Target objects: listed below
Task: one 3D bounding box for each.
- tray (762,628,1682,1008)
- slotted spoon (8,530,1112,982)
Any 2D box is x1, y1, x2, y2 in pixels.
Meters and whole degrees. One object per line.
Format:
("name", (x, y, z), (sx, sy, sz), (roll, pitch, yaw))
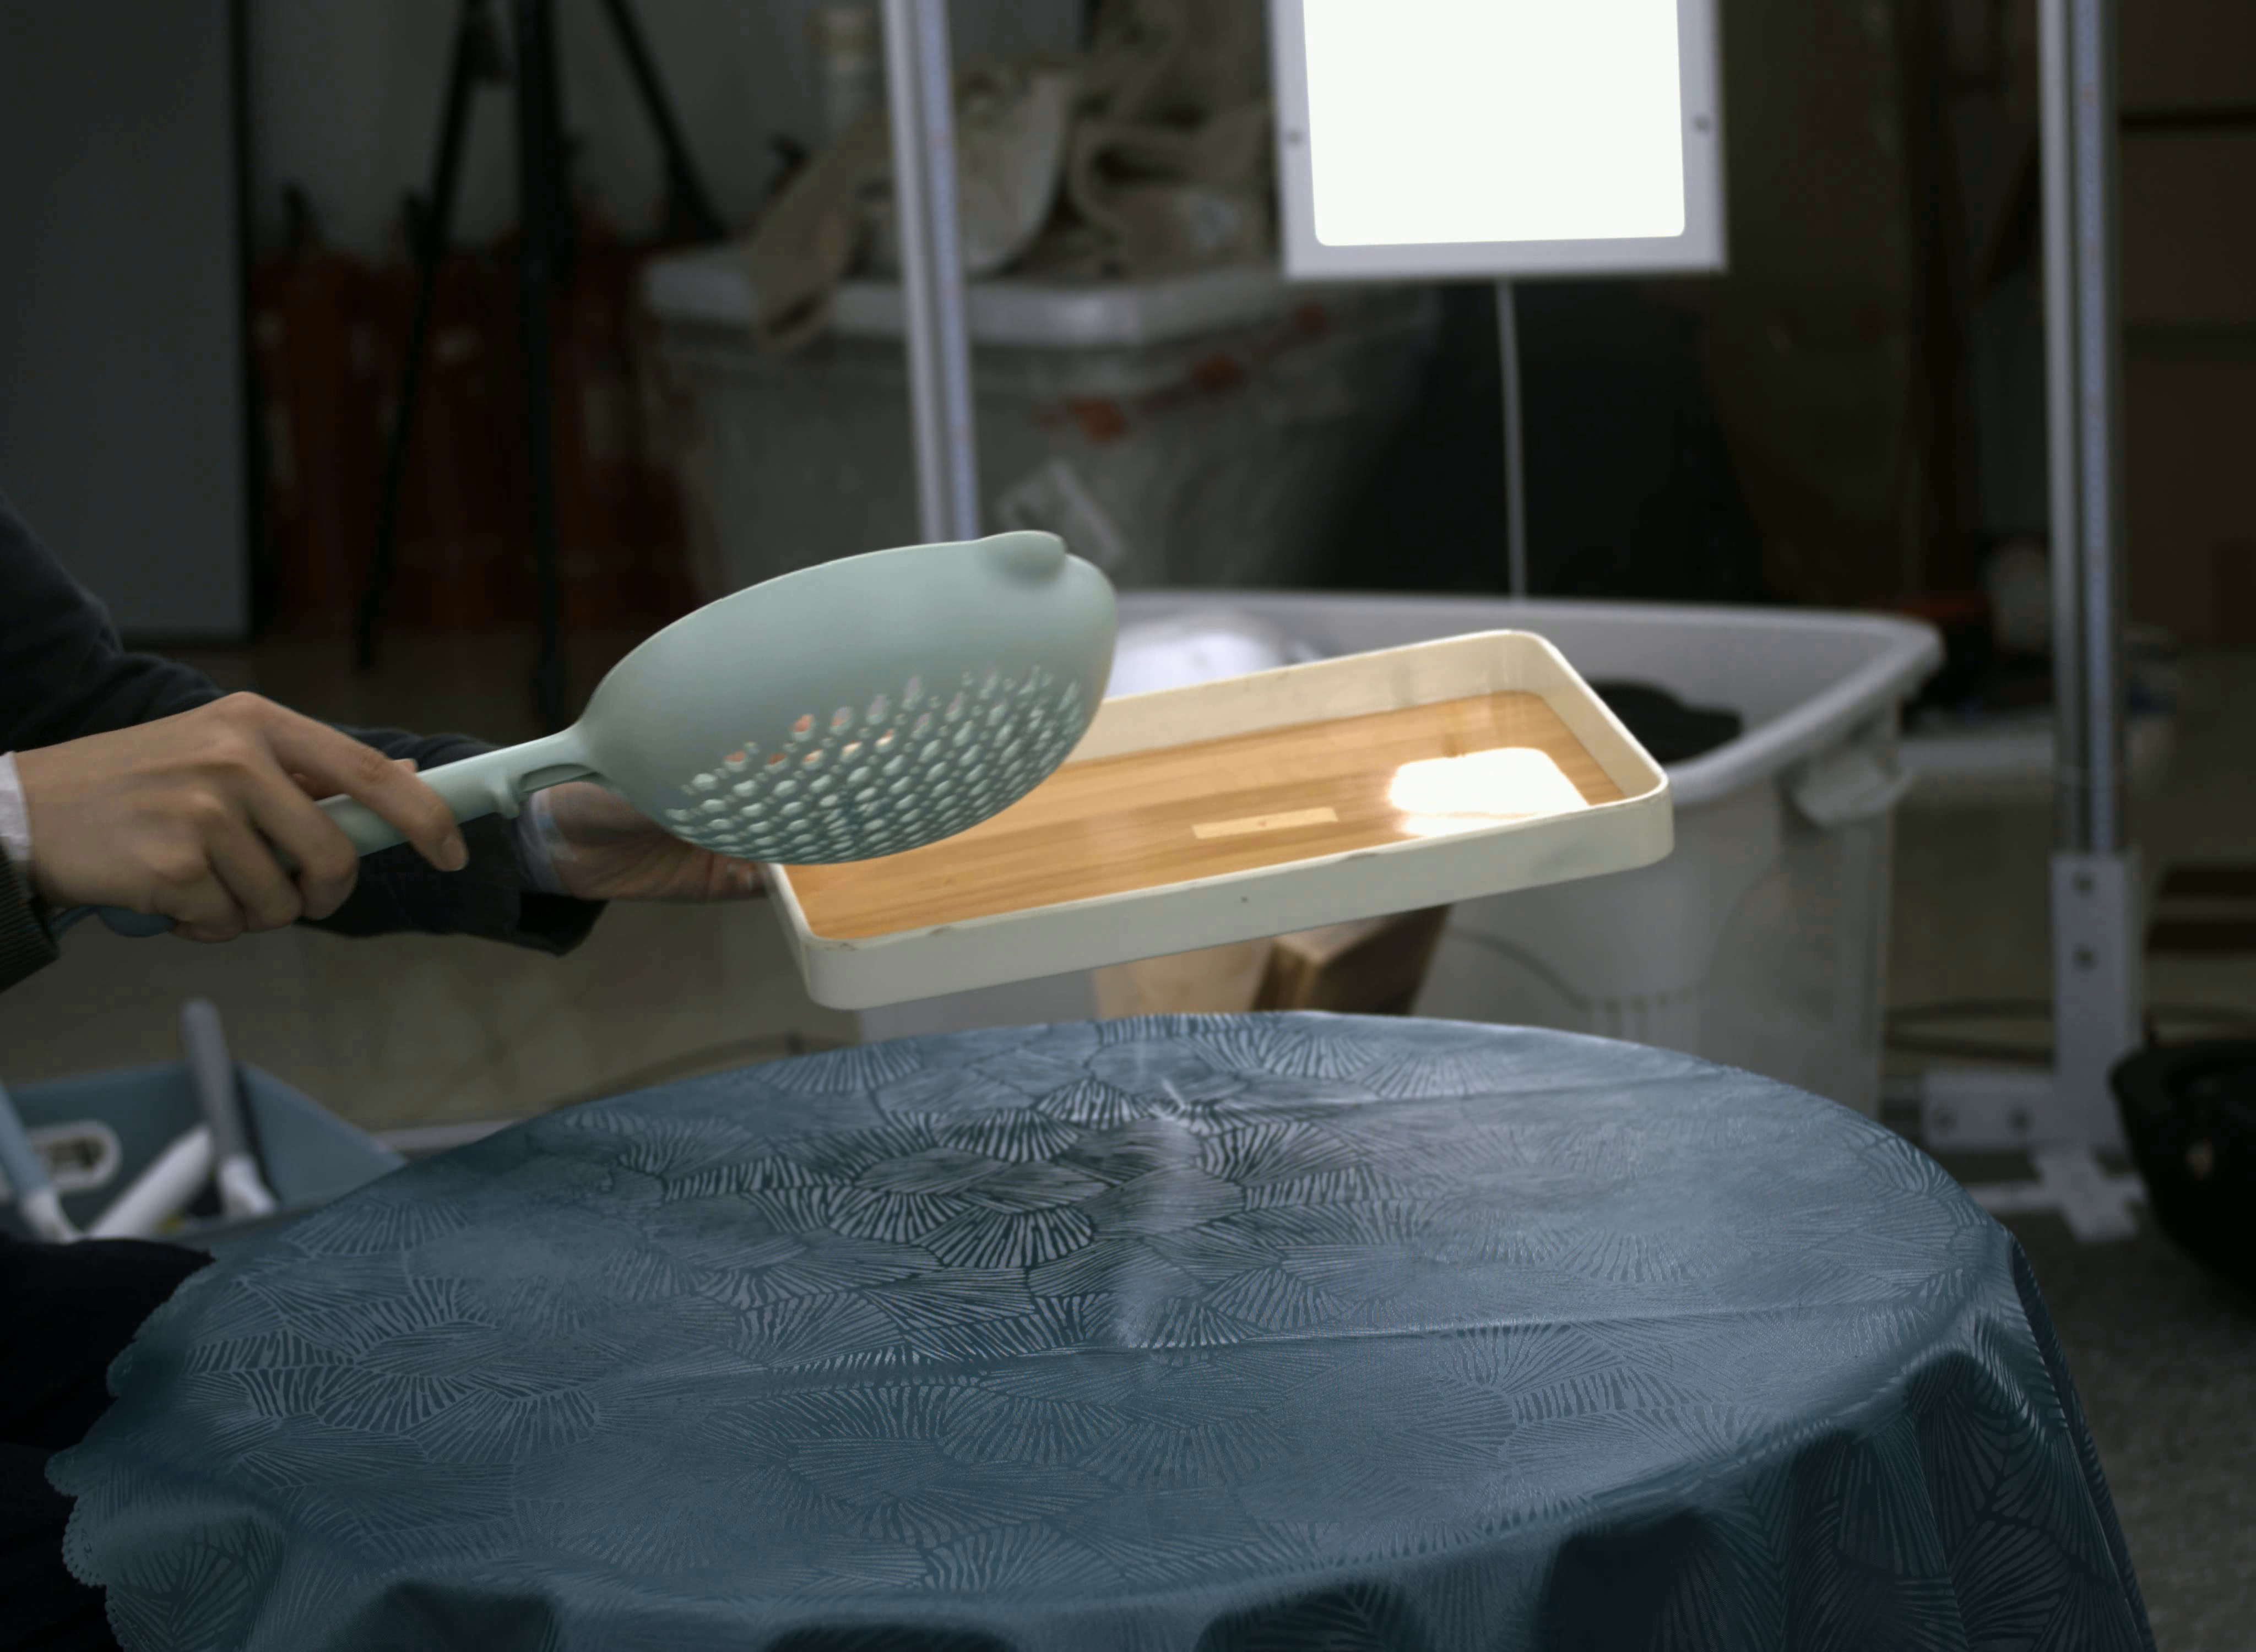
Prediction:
("tray", (0.026, -0.005, 1.901), (0.298, 0.027, 0.192), (-10, 21, -6))
("slotted spoon", (-0.178, -0.013, 1.731), (0.359, 0.075, 0.169), (-8, -20, 4))
